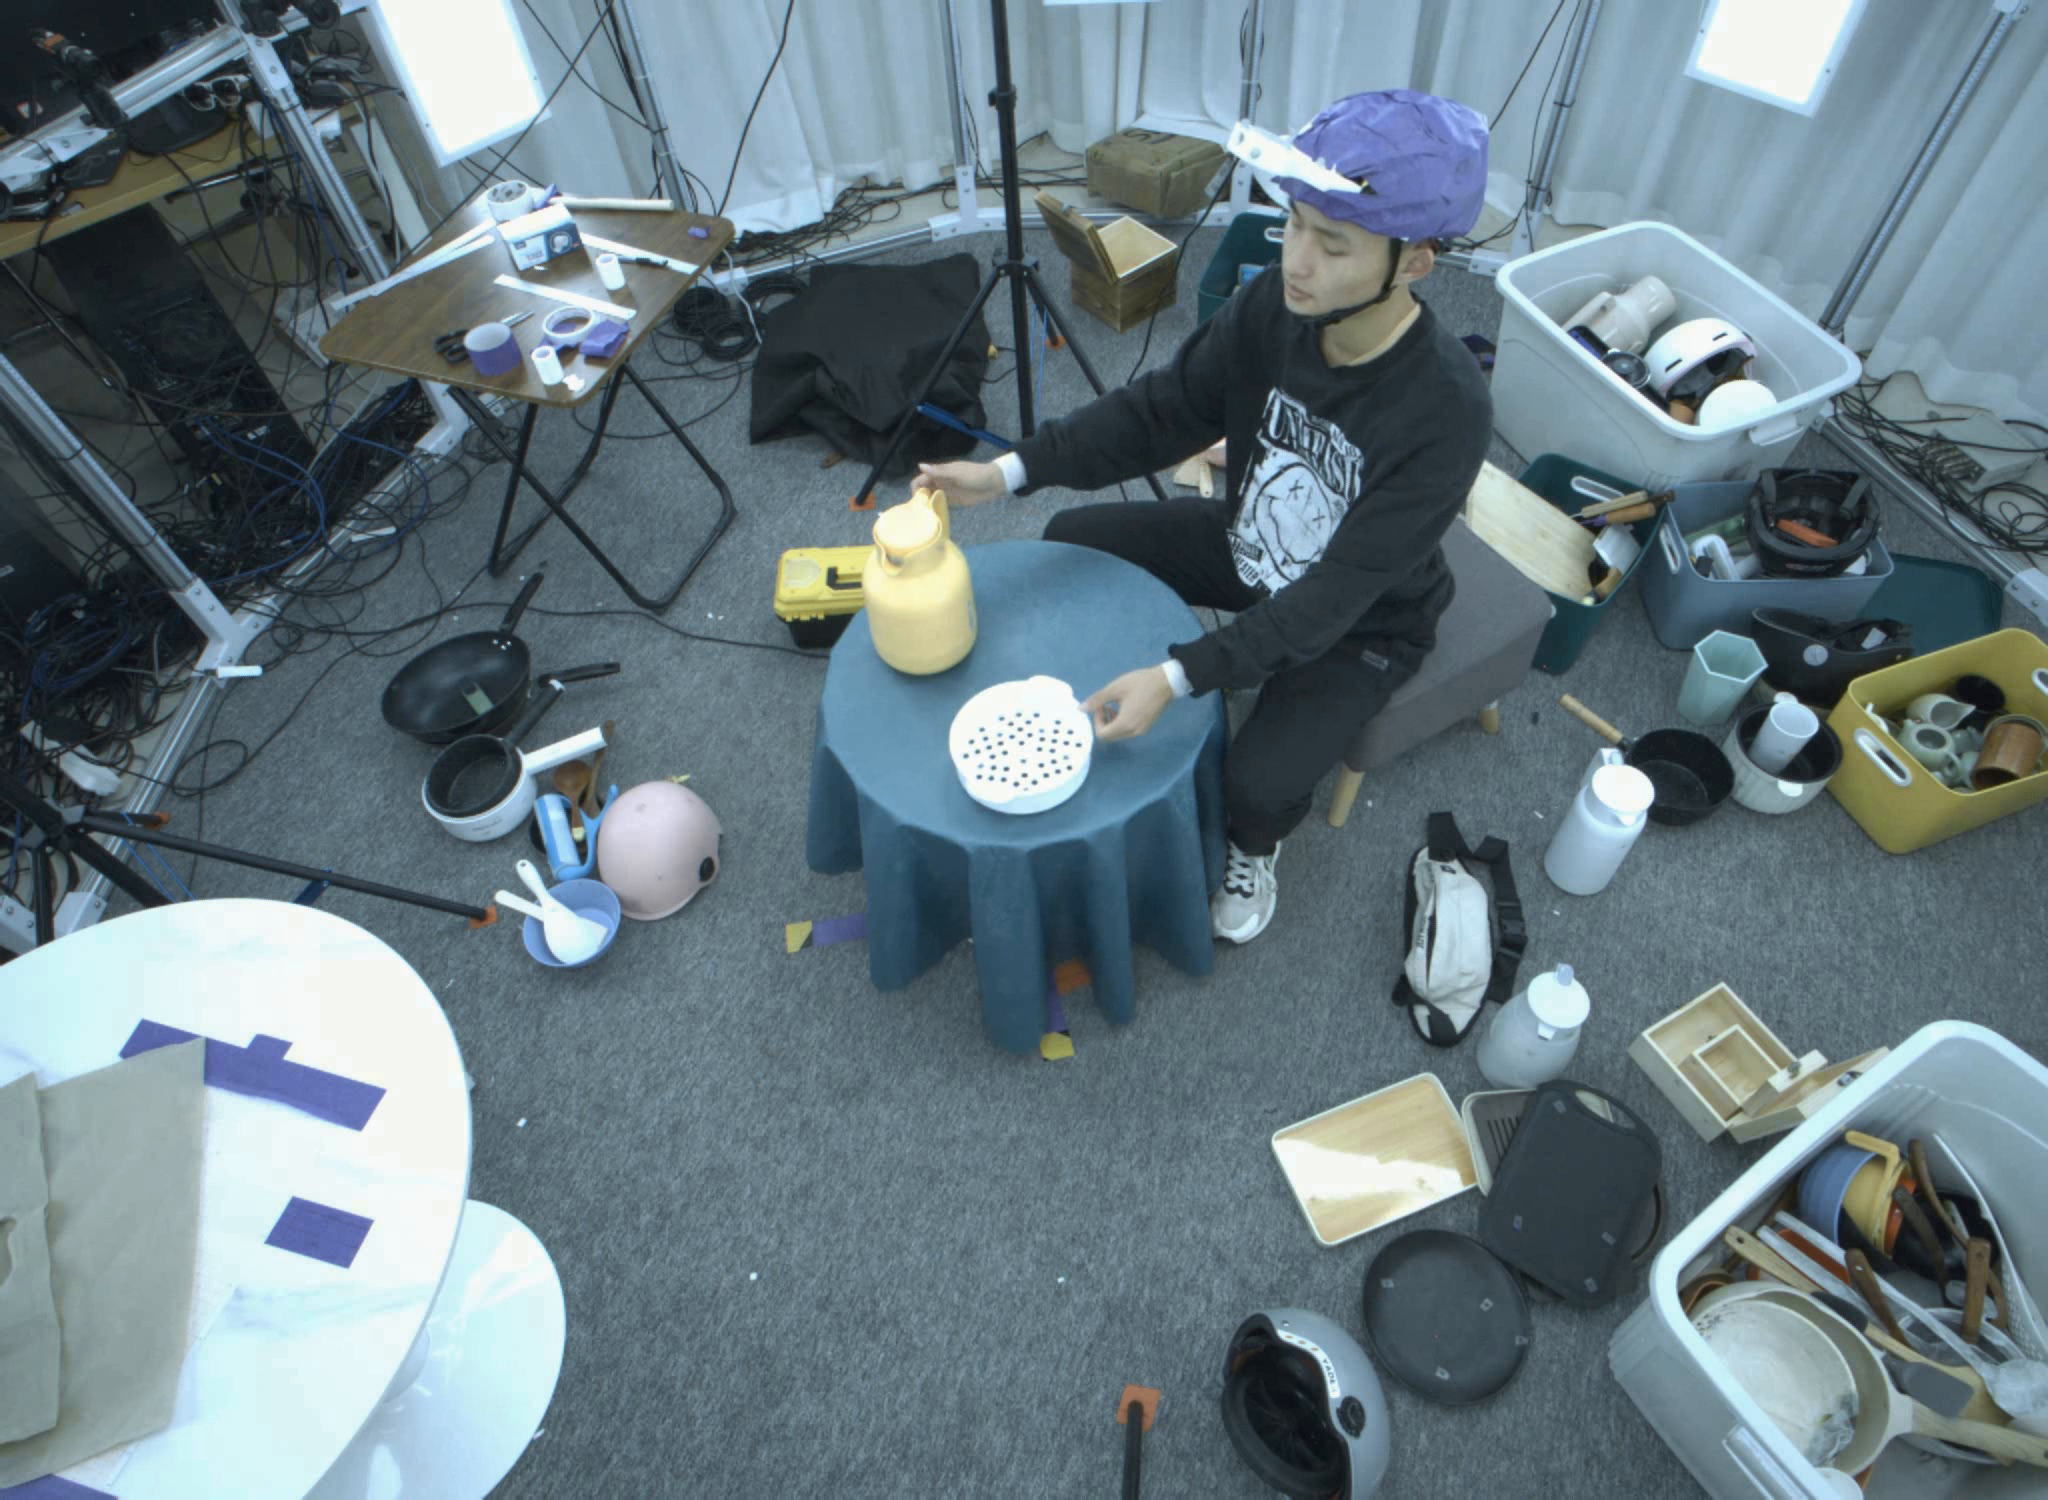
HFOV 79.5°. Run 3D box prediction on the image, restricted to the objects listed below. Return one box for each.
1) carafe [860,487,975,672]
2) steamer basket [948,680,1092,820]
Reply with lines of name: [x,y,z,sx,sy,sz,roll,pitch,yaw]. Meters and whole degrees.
carafe: [-0.153,-0.258,1.810,0.162,0.263,0.202,15,58,10]
steamer basket: [-0.004,0.005,1.743,0.199,0.070,0.231,19,57,16]
